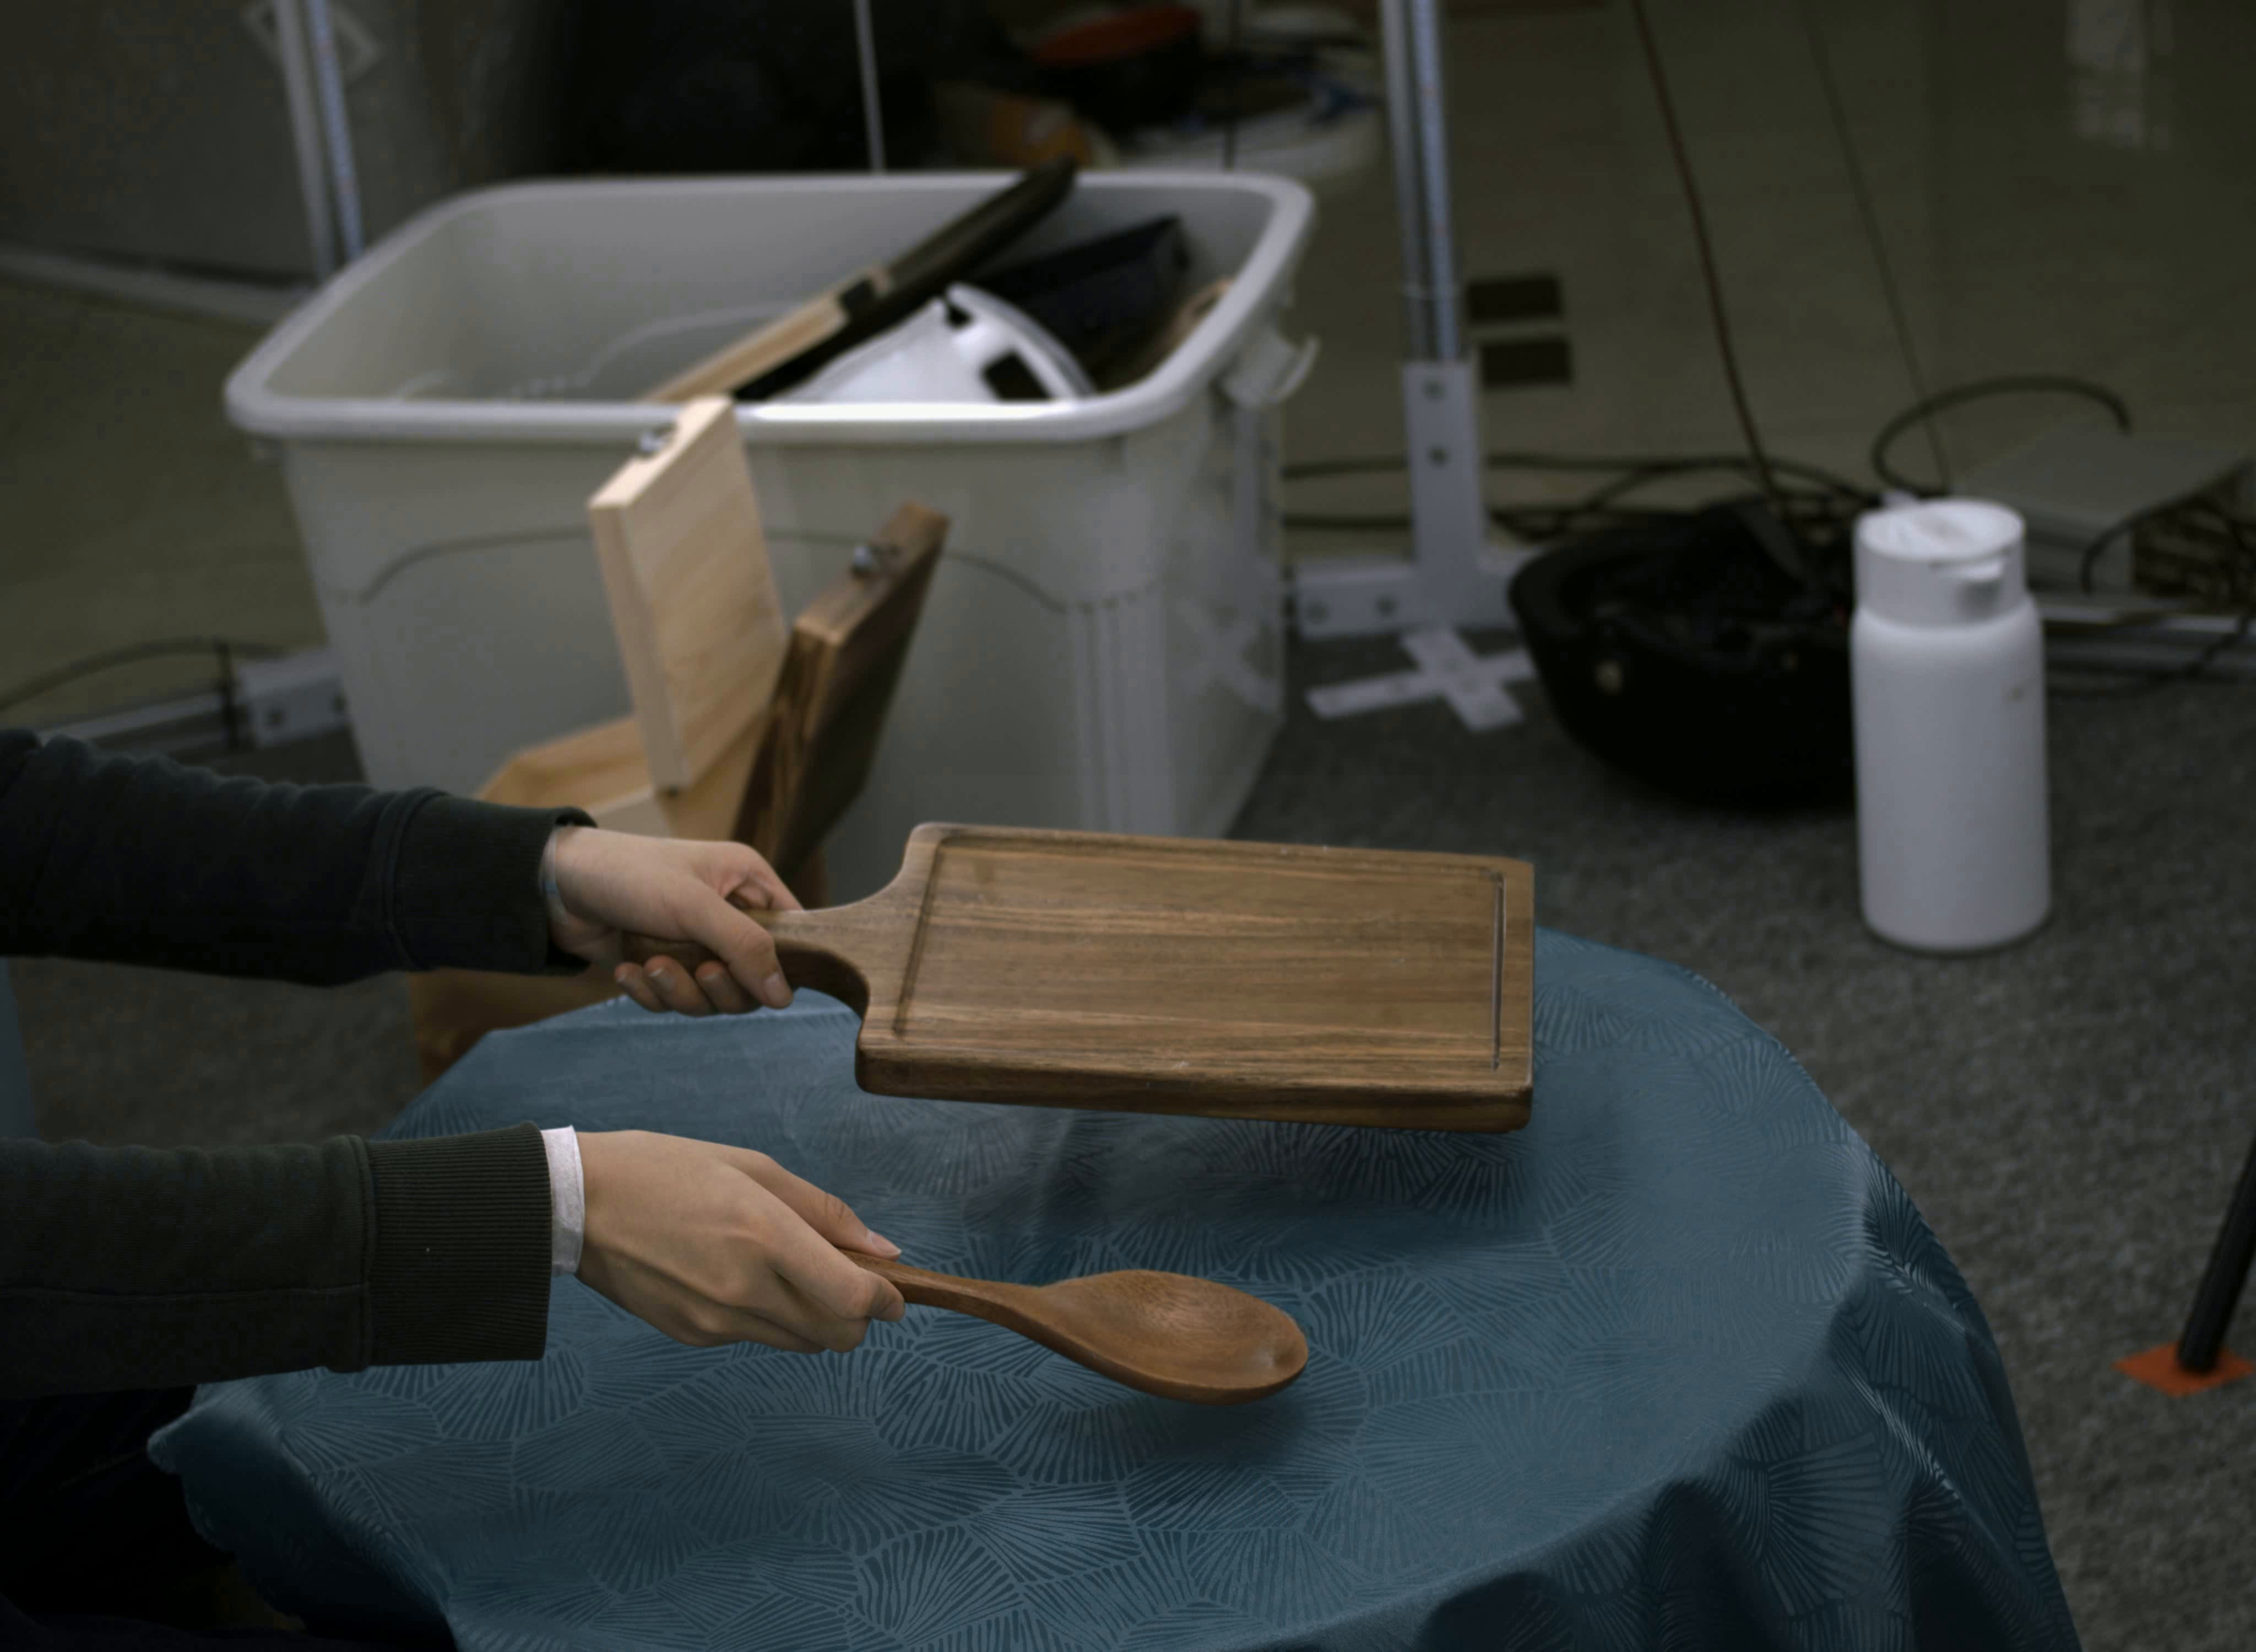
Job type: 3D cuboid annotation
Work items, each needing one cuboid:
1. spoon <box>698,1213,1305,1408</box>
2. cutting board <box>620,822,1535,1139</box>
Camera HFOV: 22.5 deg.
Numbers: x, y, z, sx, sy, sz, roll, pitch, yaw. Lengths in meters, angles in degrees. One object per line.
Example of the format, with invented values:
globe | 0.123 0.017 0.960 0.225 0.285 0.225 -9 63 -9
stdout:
spoon | -0.044 0.166 1.978 0.215 0.017 0.074 13 29 -2
cutting board | -0.019 0.054 2.171 0.351 0.023 0.198 3 28 3
